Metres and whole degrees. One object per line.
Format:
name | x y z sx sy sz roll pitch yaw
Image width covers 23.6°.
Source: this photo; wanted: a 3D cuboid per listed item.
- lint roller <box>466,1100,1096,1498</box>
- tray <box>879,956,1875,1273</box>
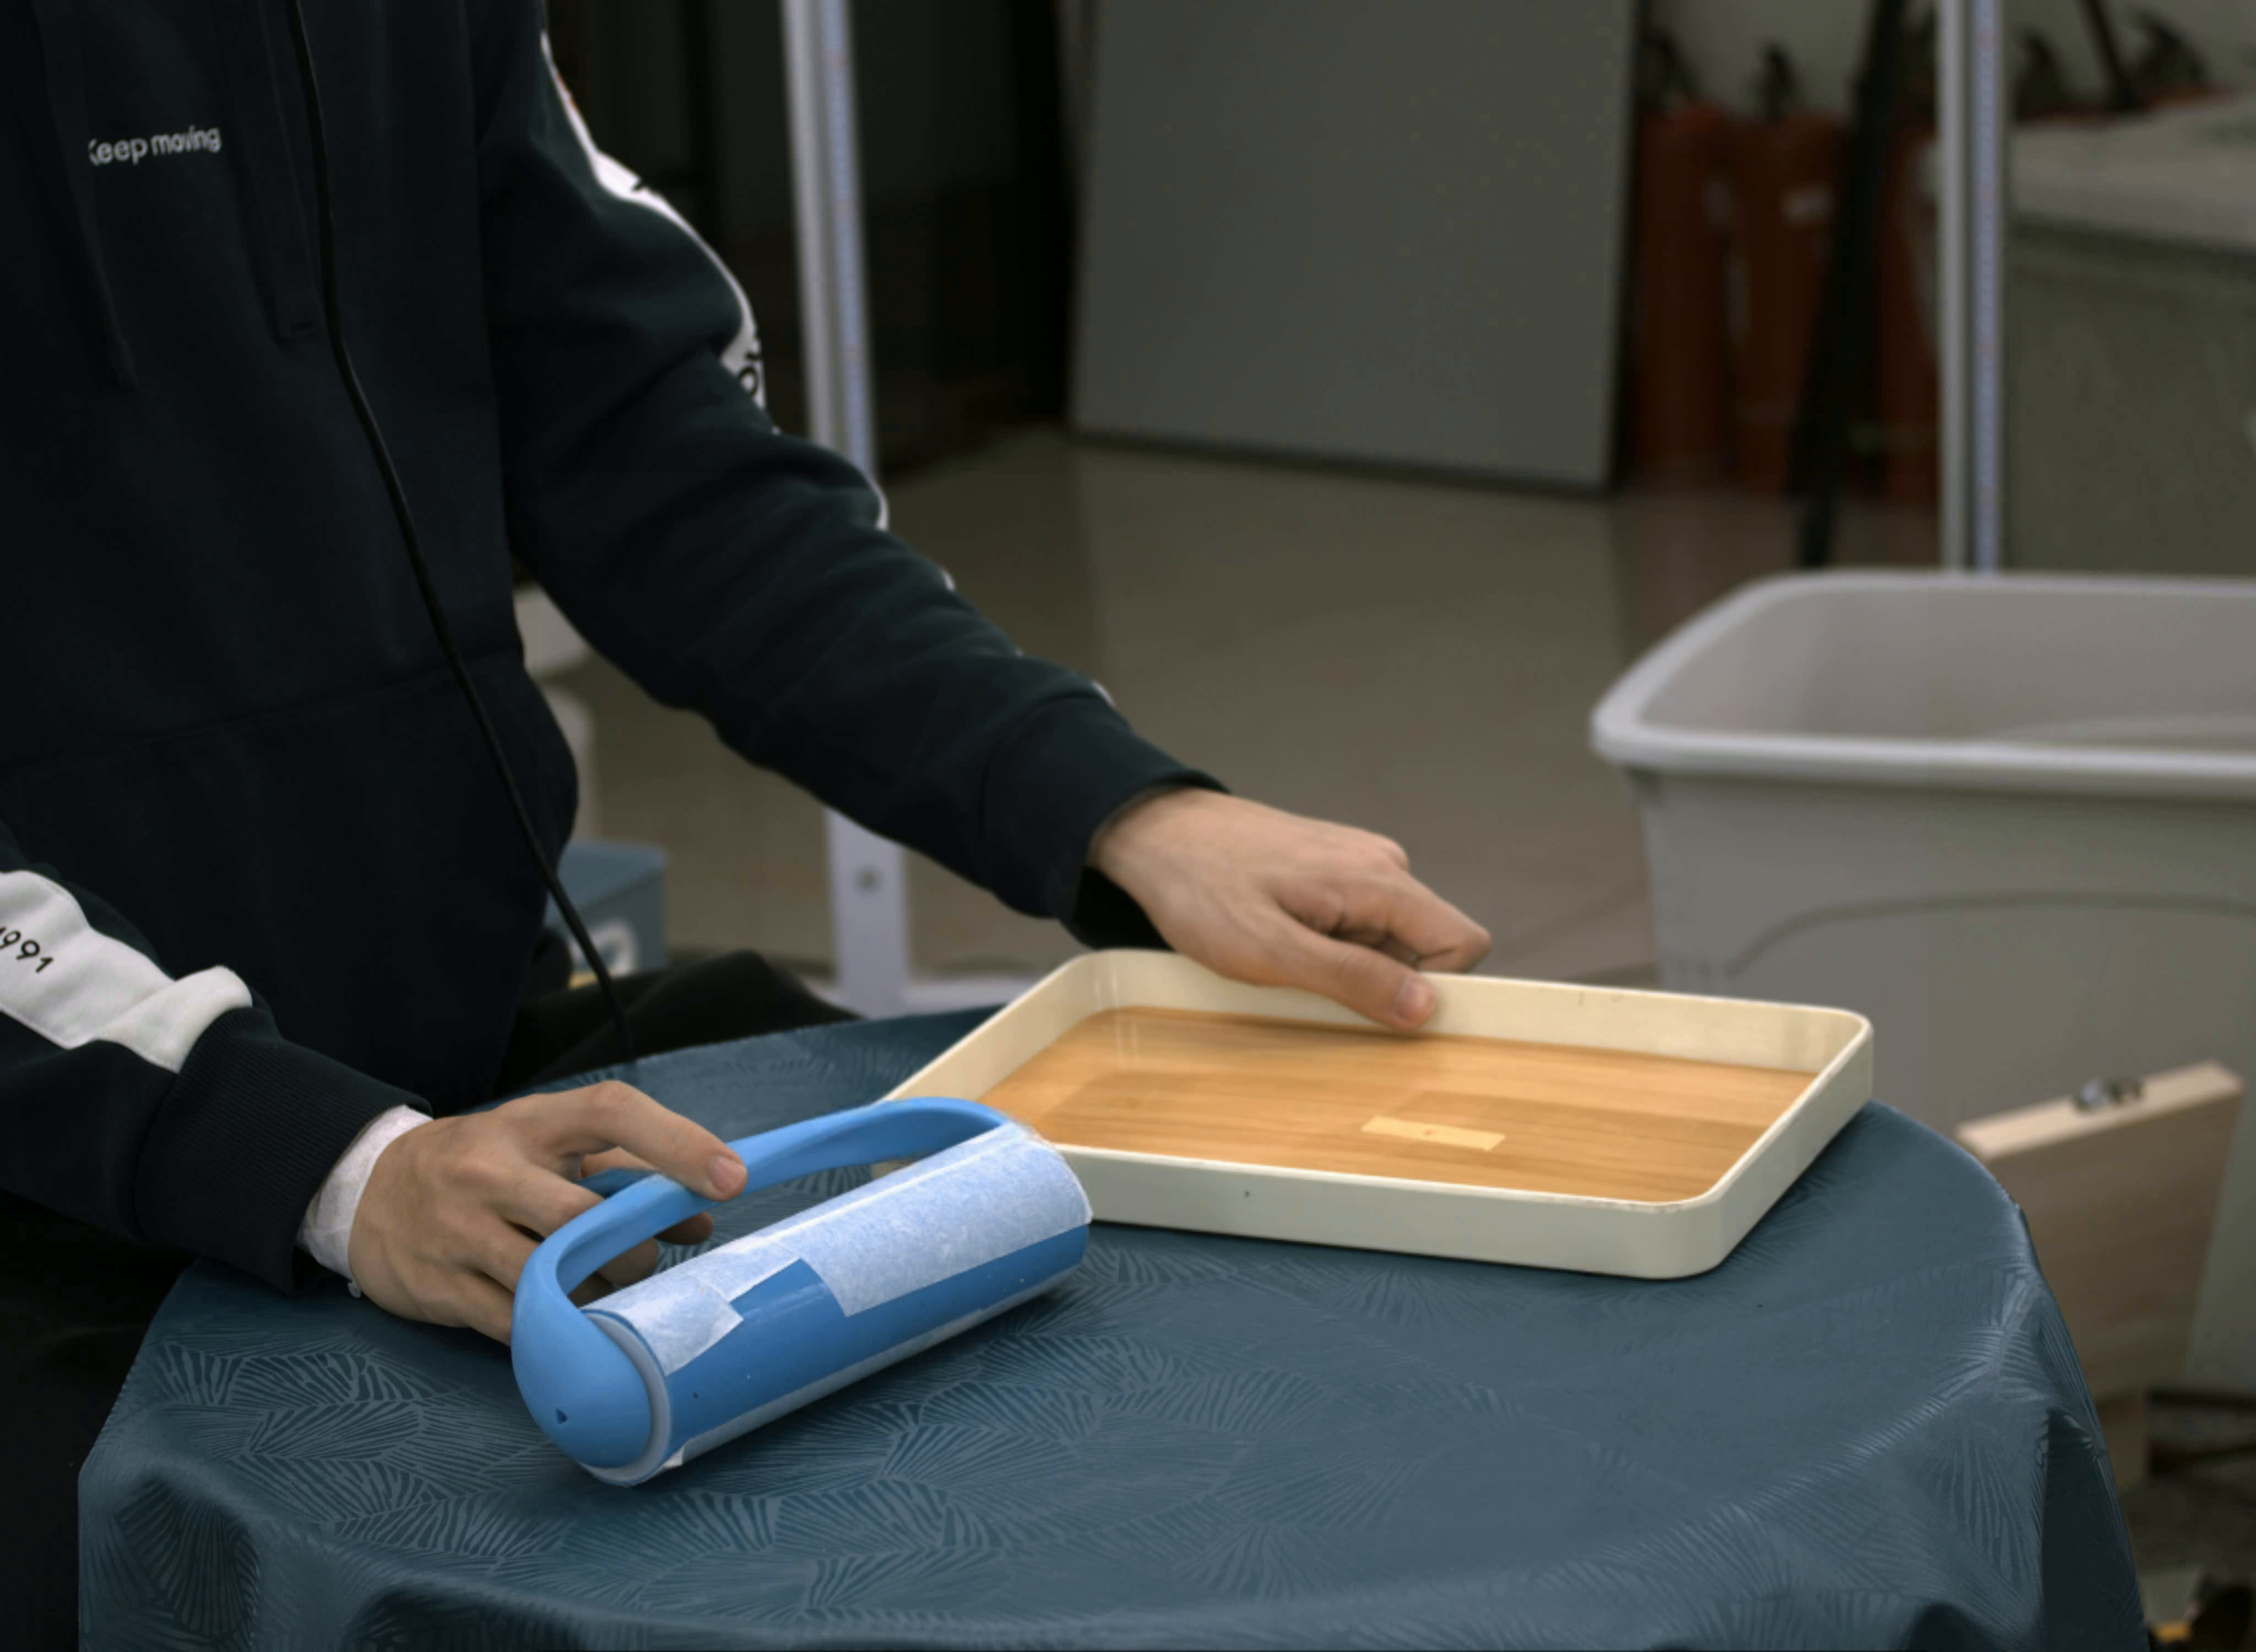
lint roller | -0.135 0.135 1.638 0.181 0.068 0.225 6 19 34
tray | 0.082 0.093 1.785 0.301 0.028 0.189 3 18 27
